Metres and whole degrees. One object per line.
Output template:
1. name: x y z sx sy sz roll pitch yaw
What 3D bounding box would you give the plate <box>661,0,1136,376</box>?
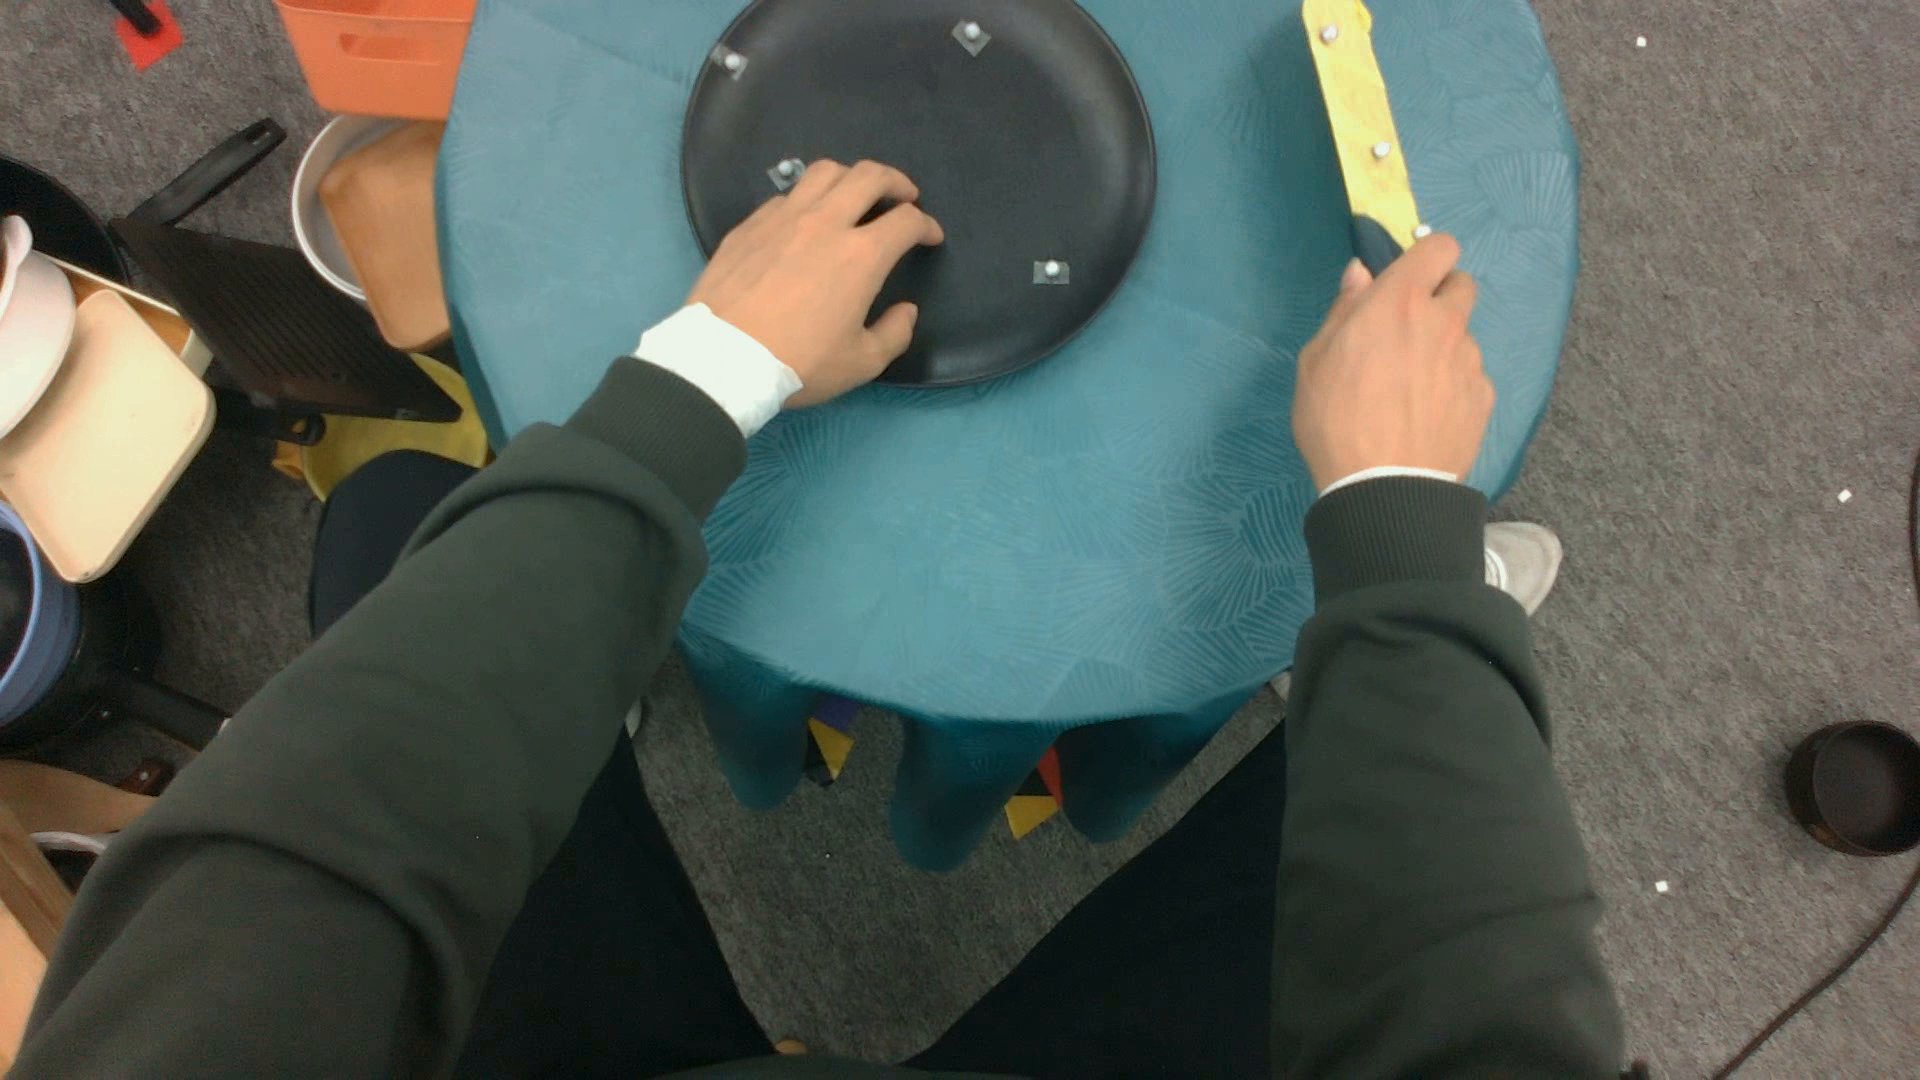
1. plate: -0.030 -0.198 0.712 0.244 0.023 0.245 1 78 -4

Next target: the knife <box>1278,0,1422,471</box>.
1. knife: 0.199 -0.171 0.693 0.081 0.027 0.290 7 70 -44
